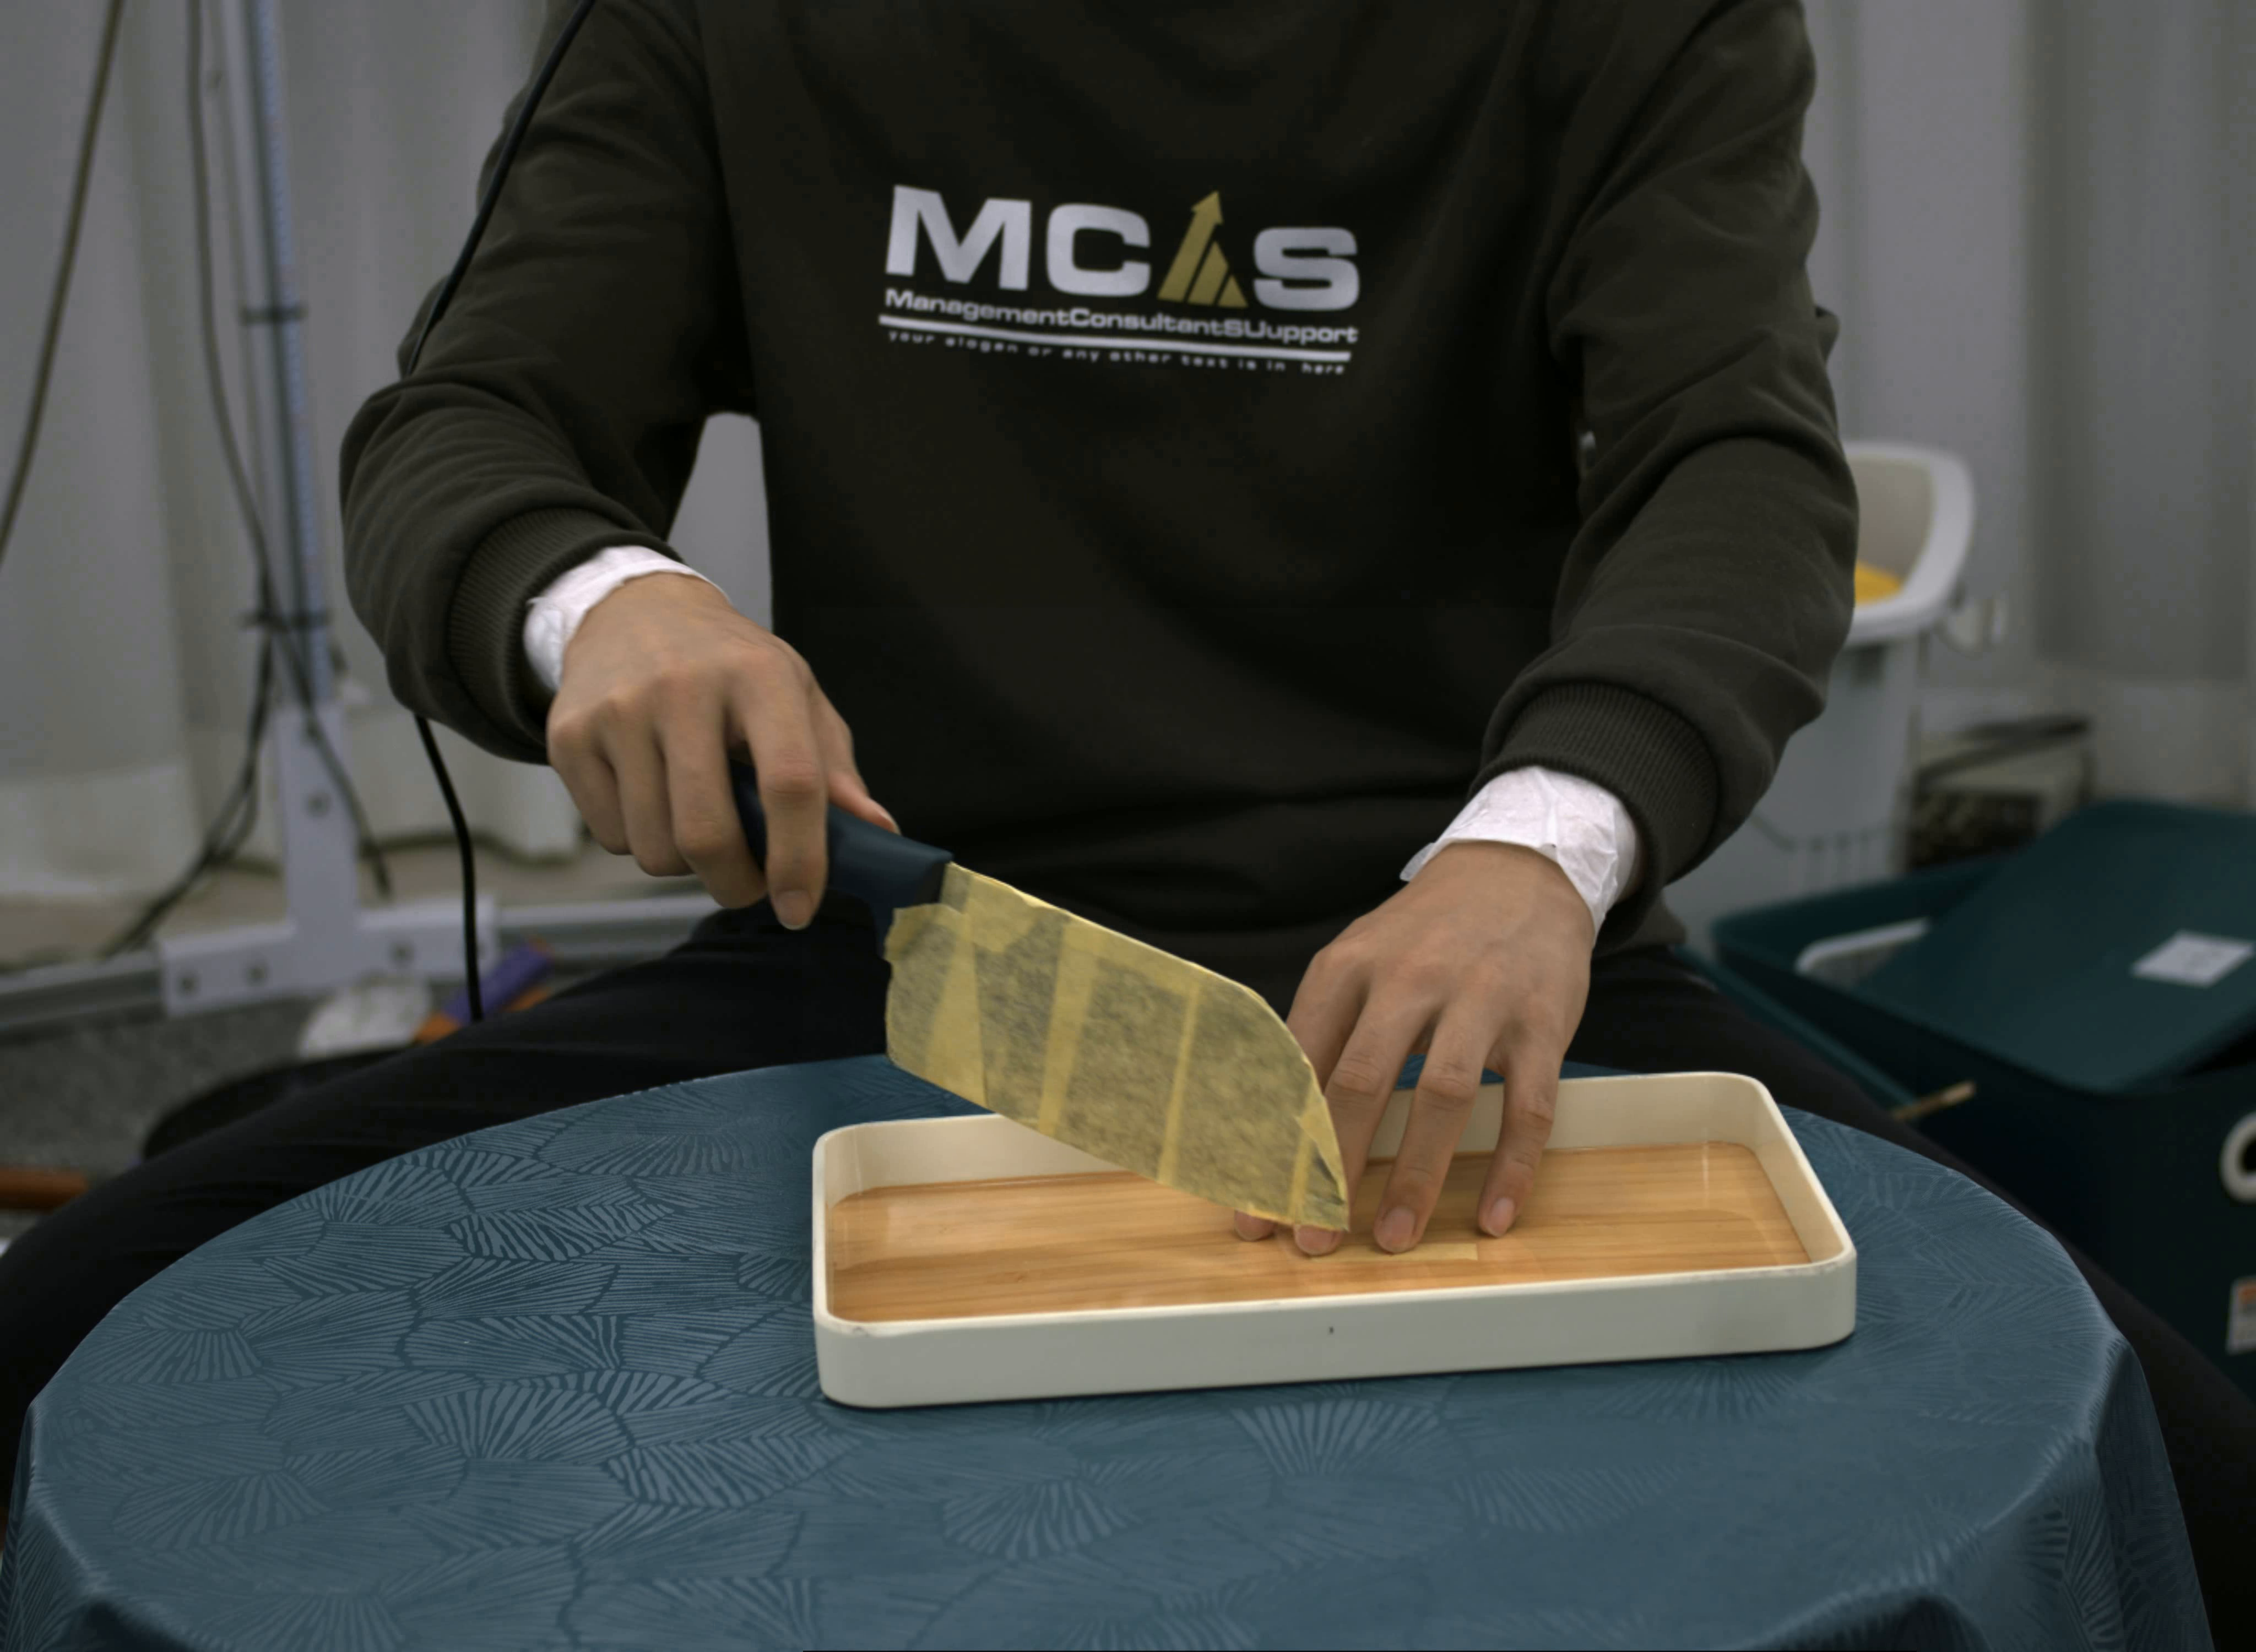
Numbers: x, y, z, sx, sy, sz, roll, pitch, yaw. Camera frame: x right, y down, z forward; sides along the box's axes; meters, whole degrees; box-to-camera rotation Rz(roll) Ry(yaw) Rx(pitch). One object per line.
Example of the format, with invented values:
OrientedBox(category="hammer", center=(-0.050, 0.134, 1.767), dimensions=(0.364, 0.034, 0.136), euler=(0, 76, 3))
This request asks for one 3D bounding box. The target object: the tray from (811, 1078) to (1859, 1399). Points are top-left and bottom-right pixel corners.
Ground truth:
OrientedBox(category="tray", center=(0.055, 0.121, 1.631), dimensions=(0.299, 0.027, 0.193), euler=(-3, 14, -2))

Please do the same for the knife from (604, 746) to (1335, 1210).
OrientedBox(category="knife", center=(-0.052, 0.044, 1.664), dimensions=(0.291, 0.080, 0.027), euler=(26, 23, 31))
